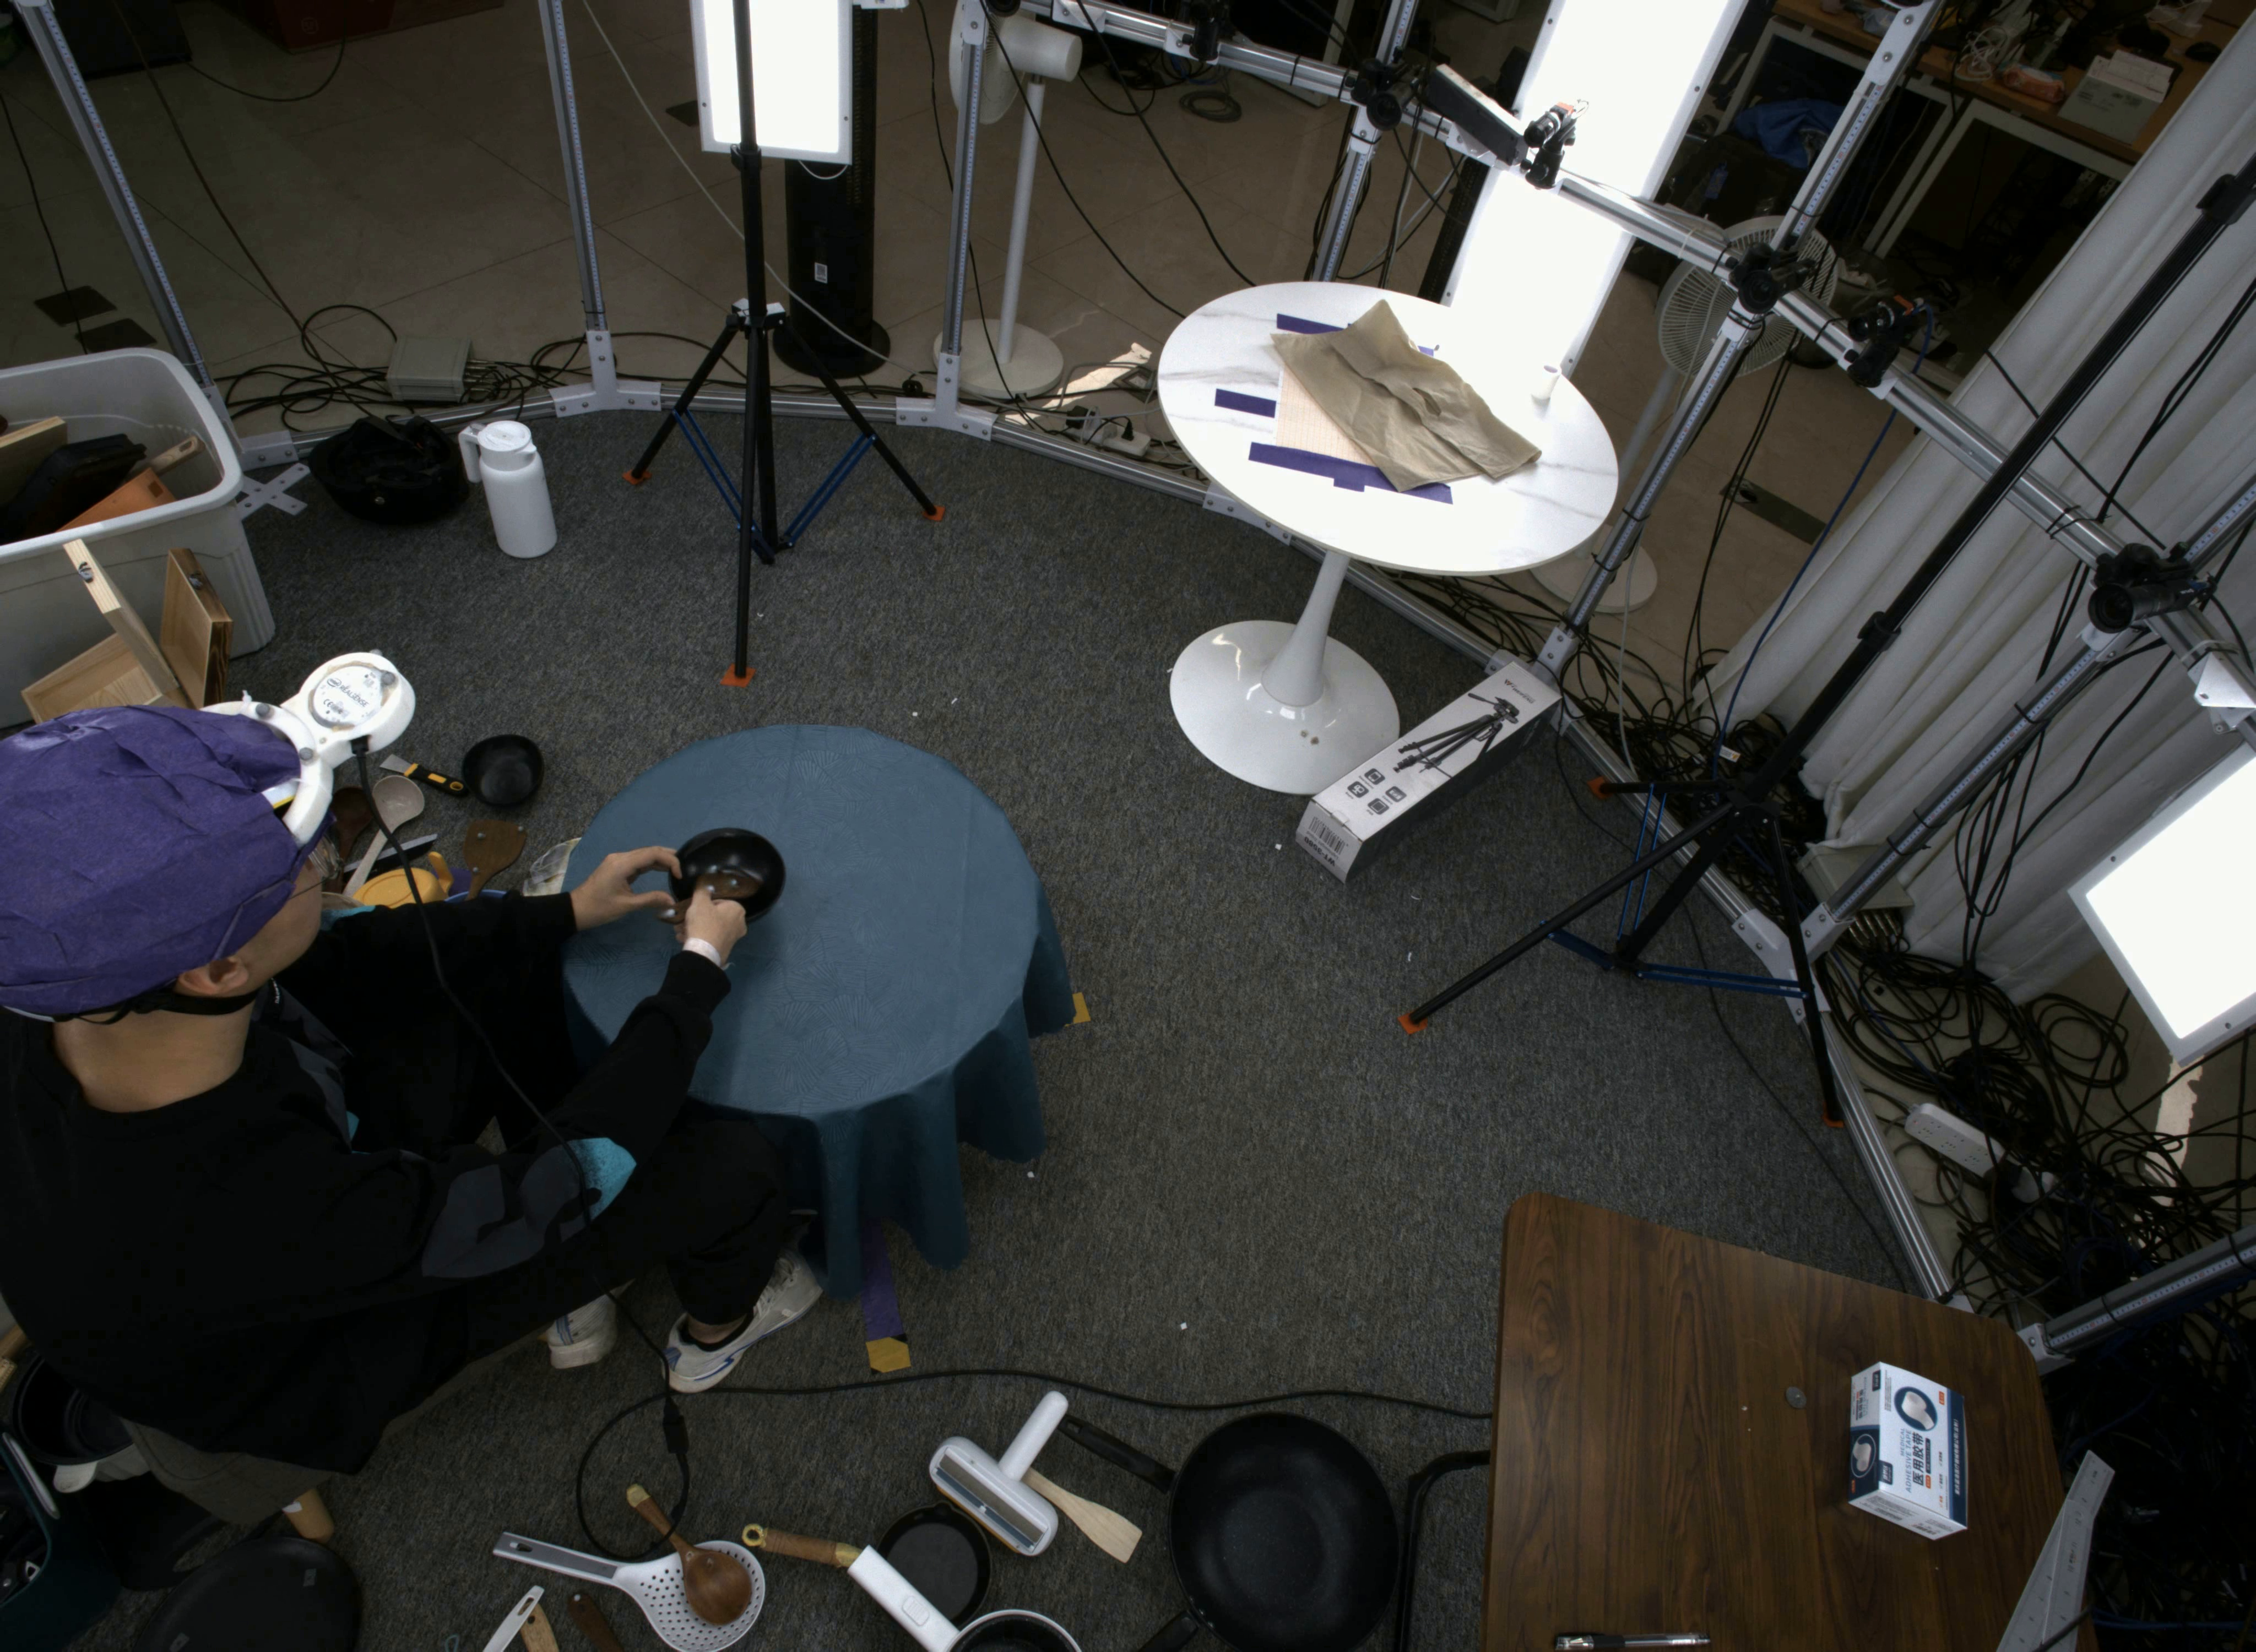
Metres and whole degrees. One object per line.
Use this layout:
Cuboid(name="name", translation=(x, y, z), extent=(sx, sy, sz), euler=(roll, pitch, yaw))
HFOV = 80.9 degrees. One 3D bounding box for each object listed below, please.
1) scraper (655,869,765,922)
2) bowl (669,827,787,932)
Cuboid(name="scraper", translation=(-0.495, 0.081, 1.505), extent=(0.075, 0.011, 0.210), euler=(16, 11, 4))
Cuboid(name="bowl", translation=(-0.487, 0.071, 1.577), extent=(0.140, 0.050, 0.138), euler=(9, 57, -13))
